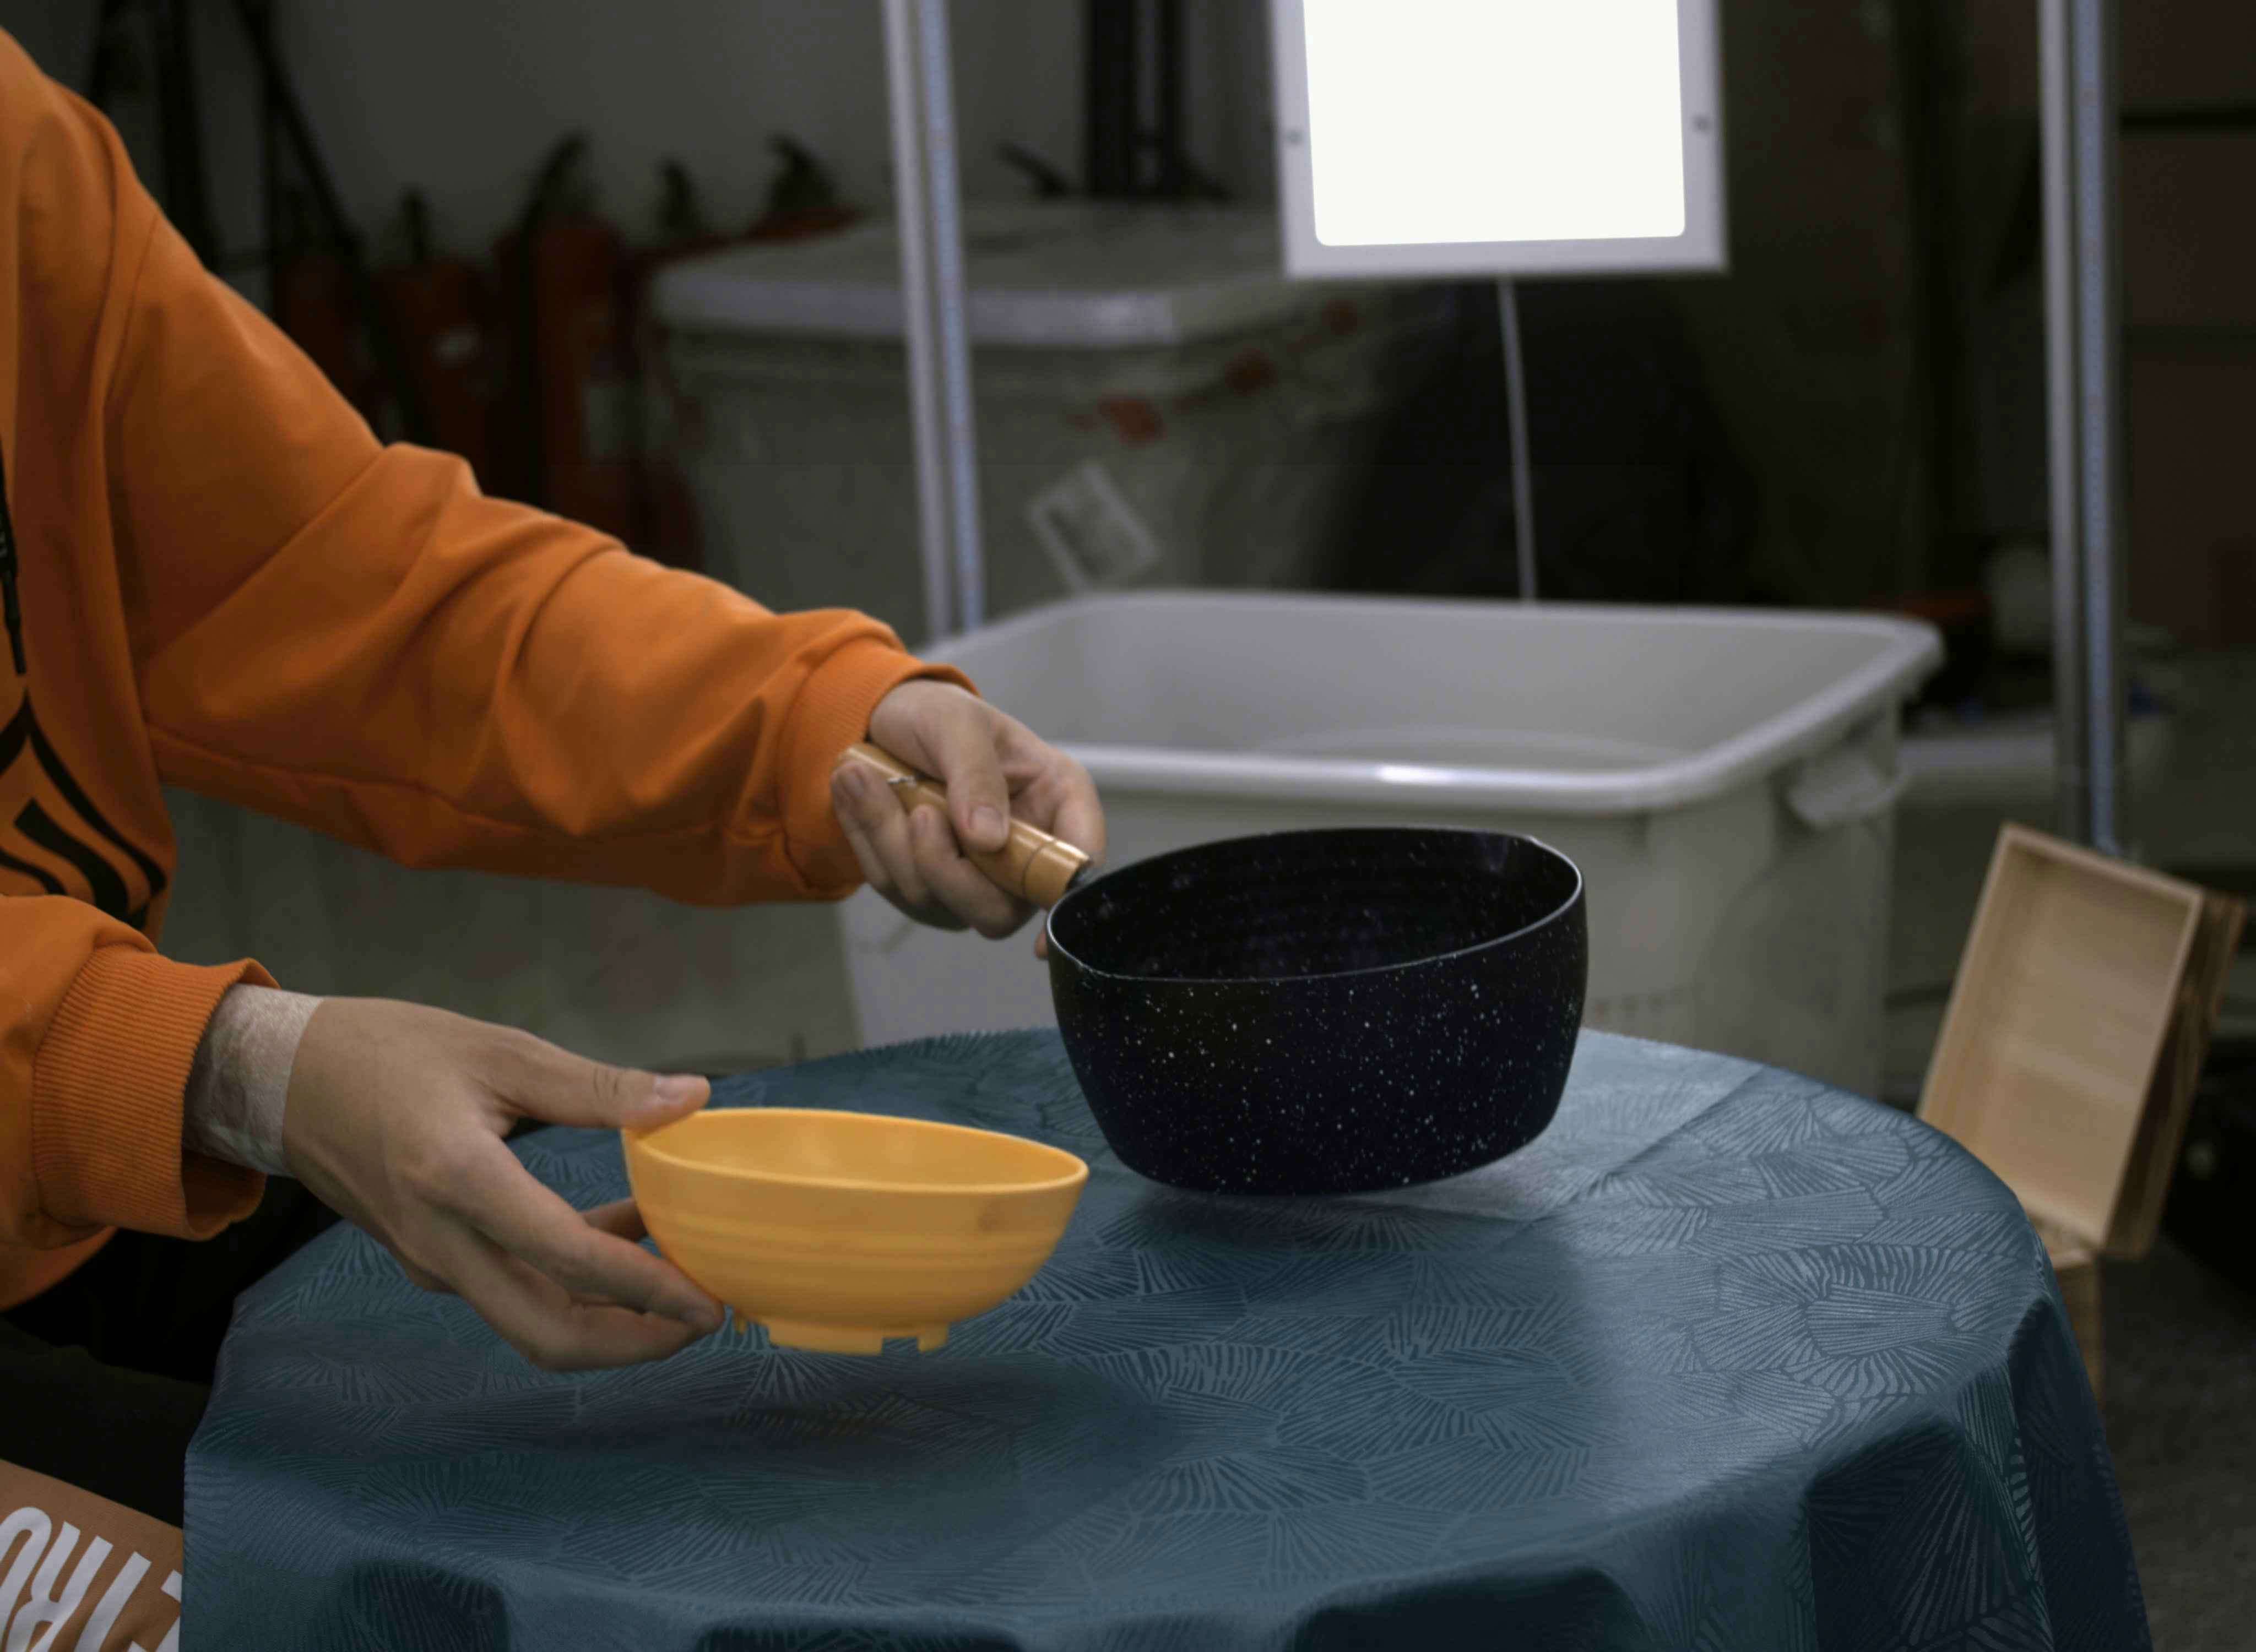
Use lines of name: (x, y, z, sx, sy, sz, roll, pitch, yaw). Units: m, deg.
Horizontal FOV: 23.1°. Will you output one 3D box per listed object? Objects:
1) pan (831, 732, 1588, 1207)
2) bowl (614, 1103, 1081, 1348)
pan: (0.012, 0.042, 1.924, 0.202, 0.108, 0.350, -20, 21, -38)
bowl: (-0.089, 0.125, 1.692, 0.145, 0.060, 0.145, 5, 4, -2)
